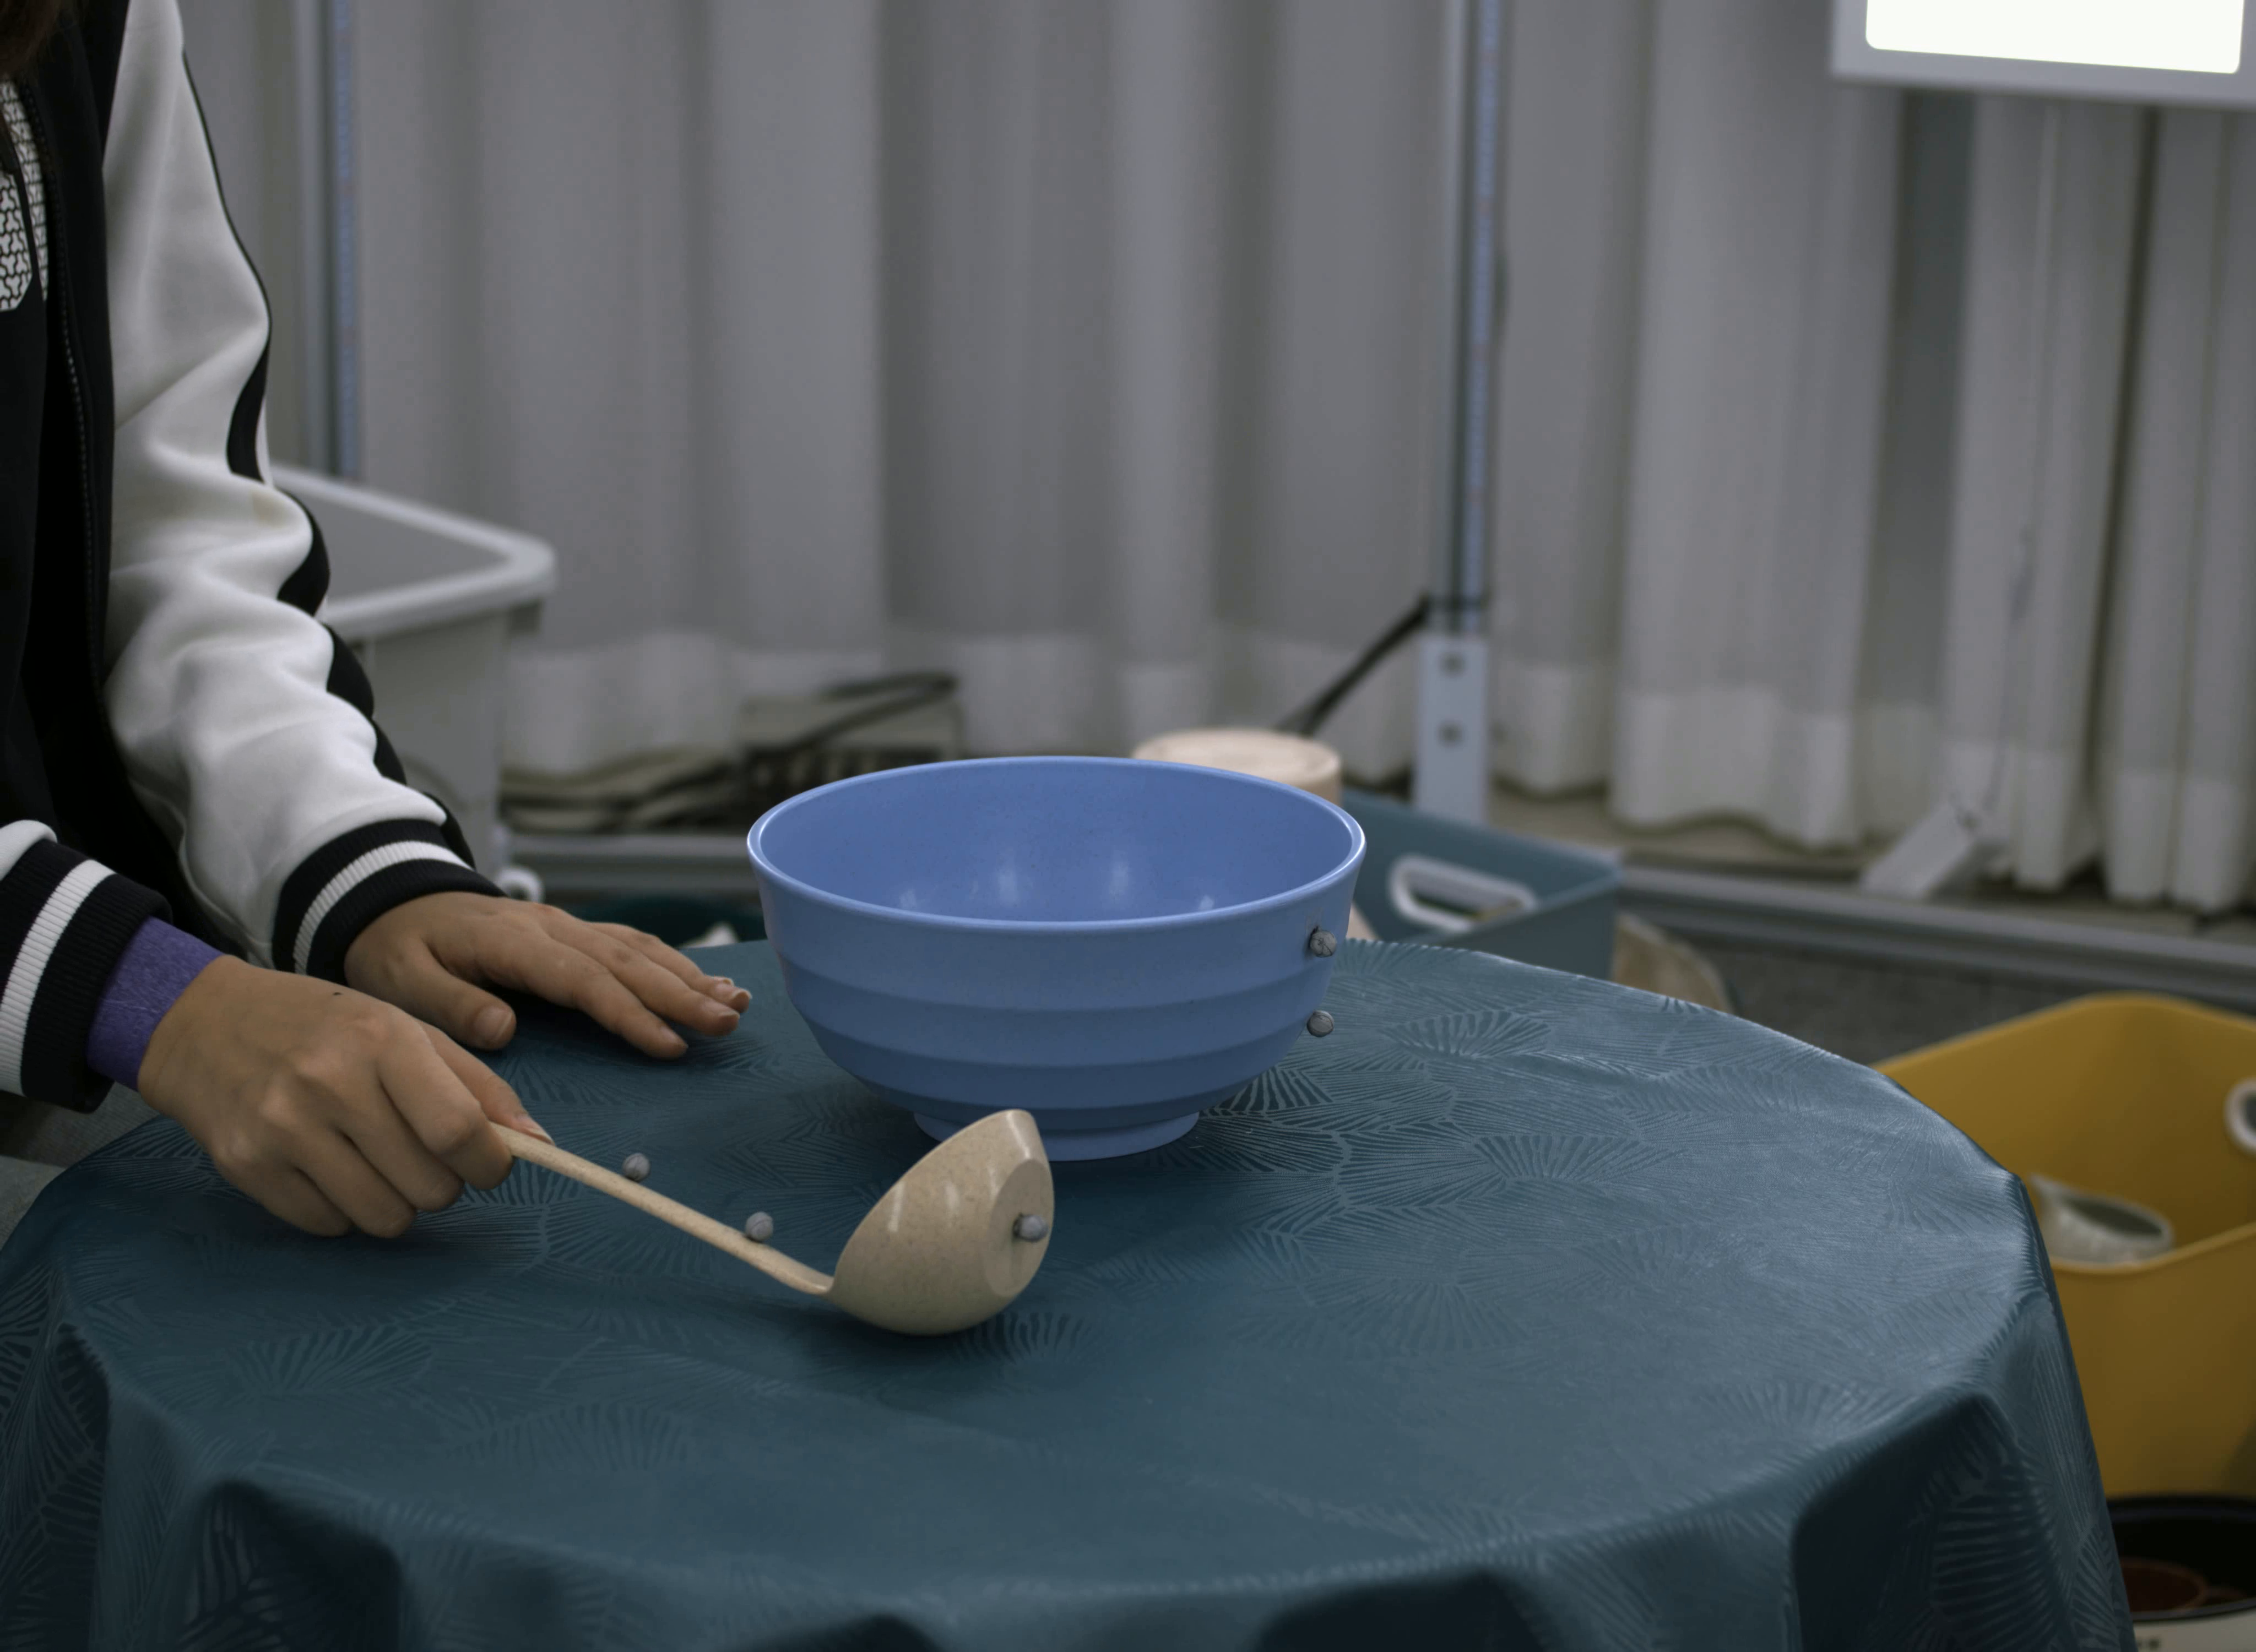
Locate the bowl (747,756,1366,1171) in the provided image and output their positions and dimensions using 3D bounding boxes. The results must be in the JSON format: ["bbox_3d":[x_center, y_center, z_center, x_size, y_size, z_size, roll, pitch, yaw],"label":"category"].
[{"bbox_3d":[-0.022,0.050,1.678,0.196,0.096,0.195,0,17,1],"label":"bowl"}]

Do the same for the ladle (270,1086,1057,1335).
[{"bbox_3d":[-0.138,0.082,1.533,0.251,0.073,0.072,18,5,24],"label":"ladle"}]
